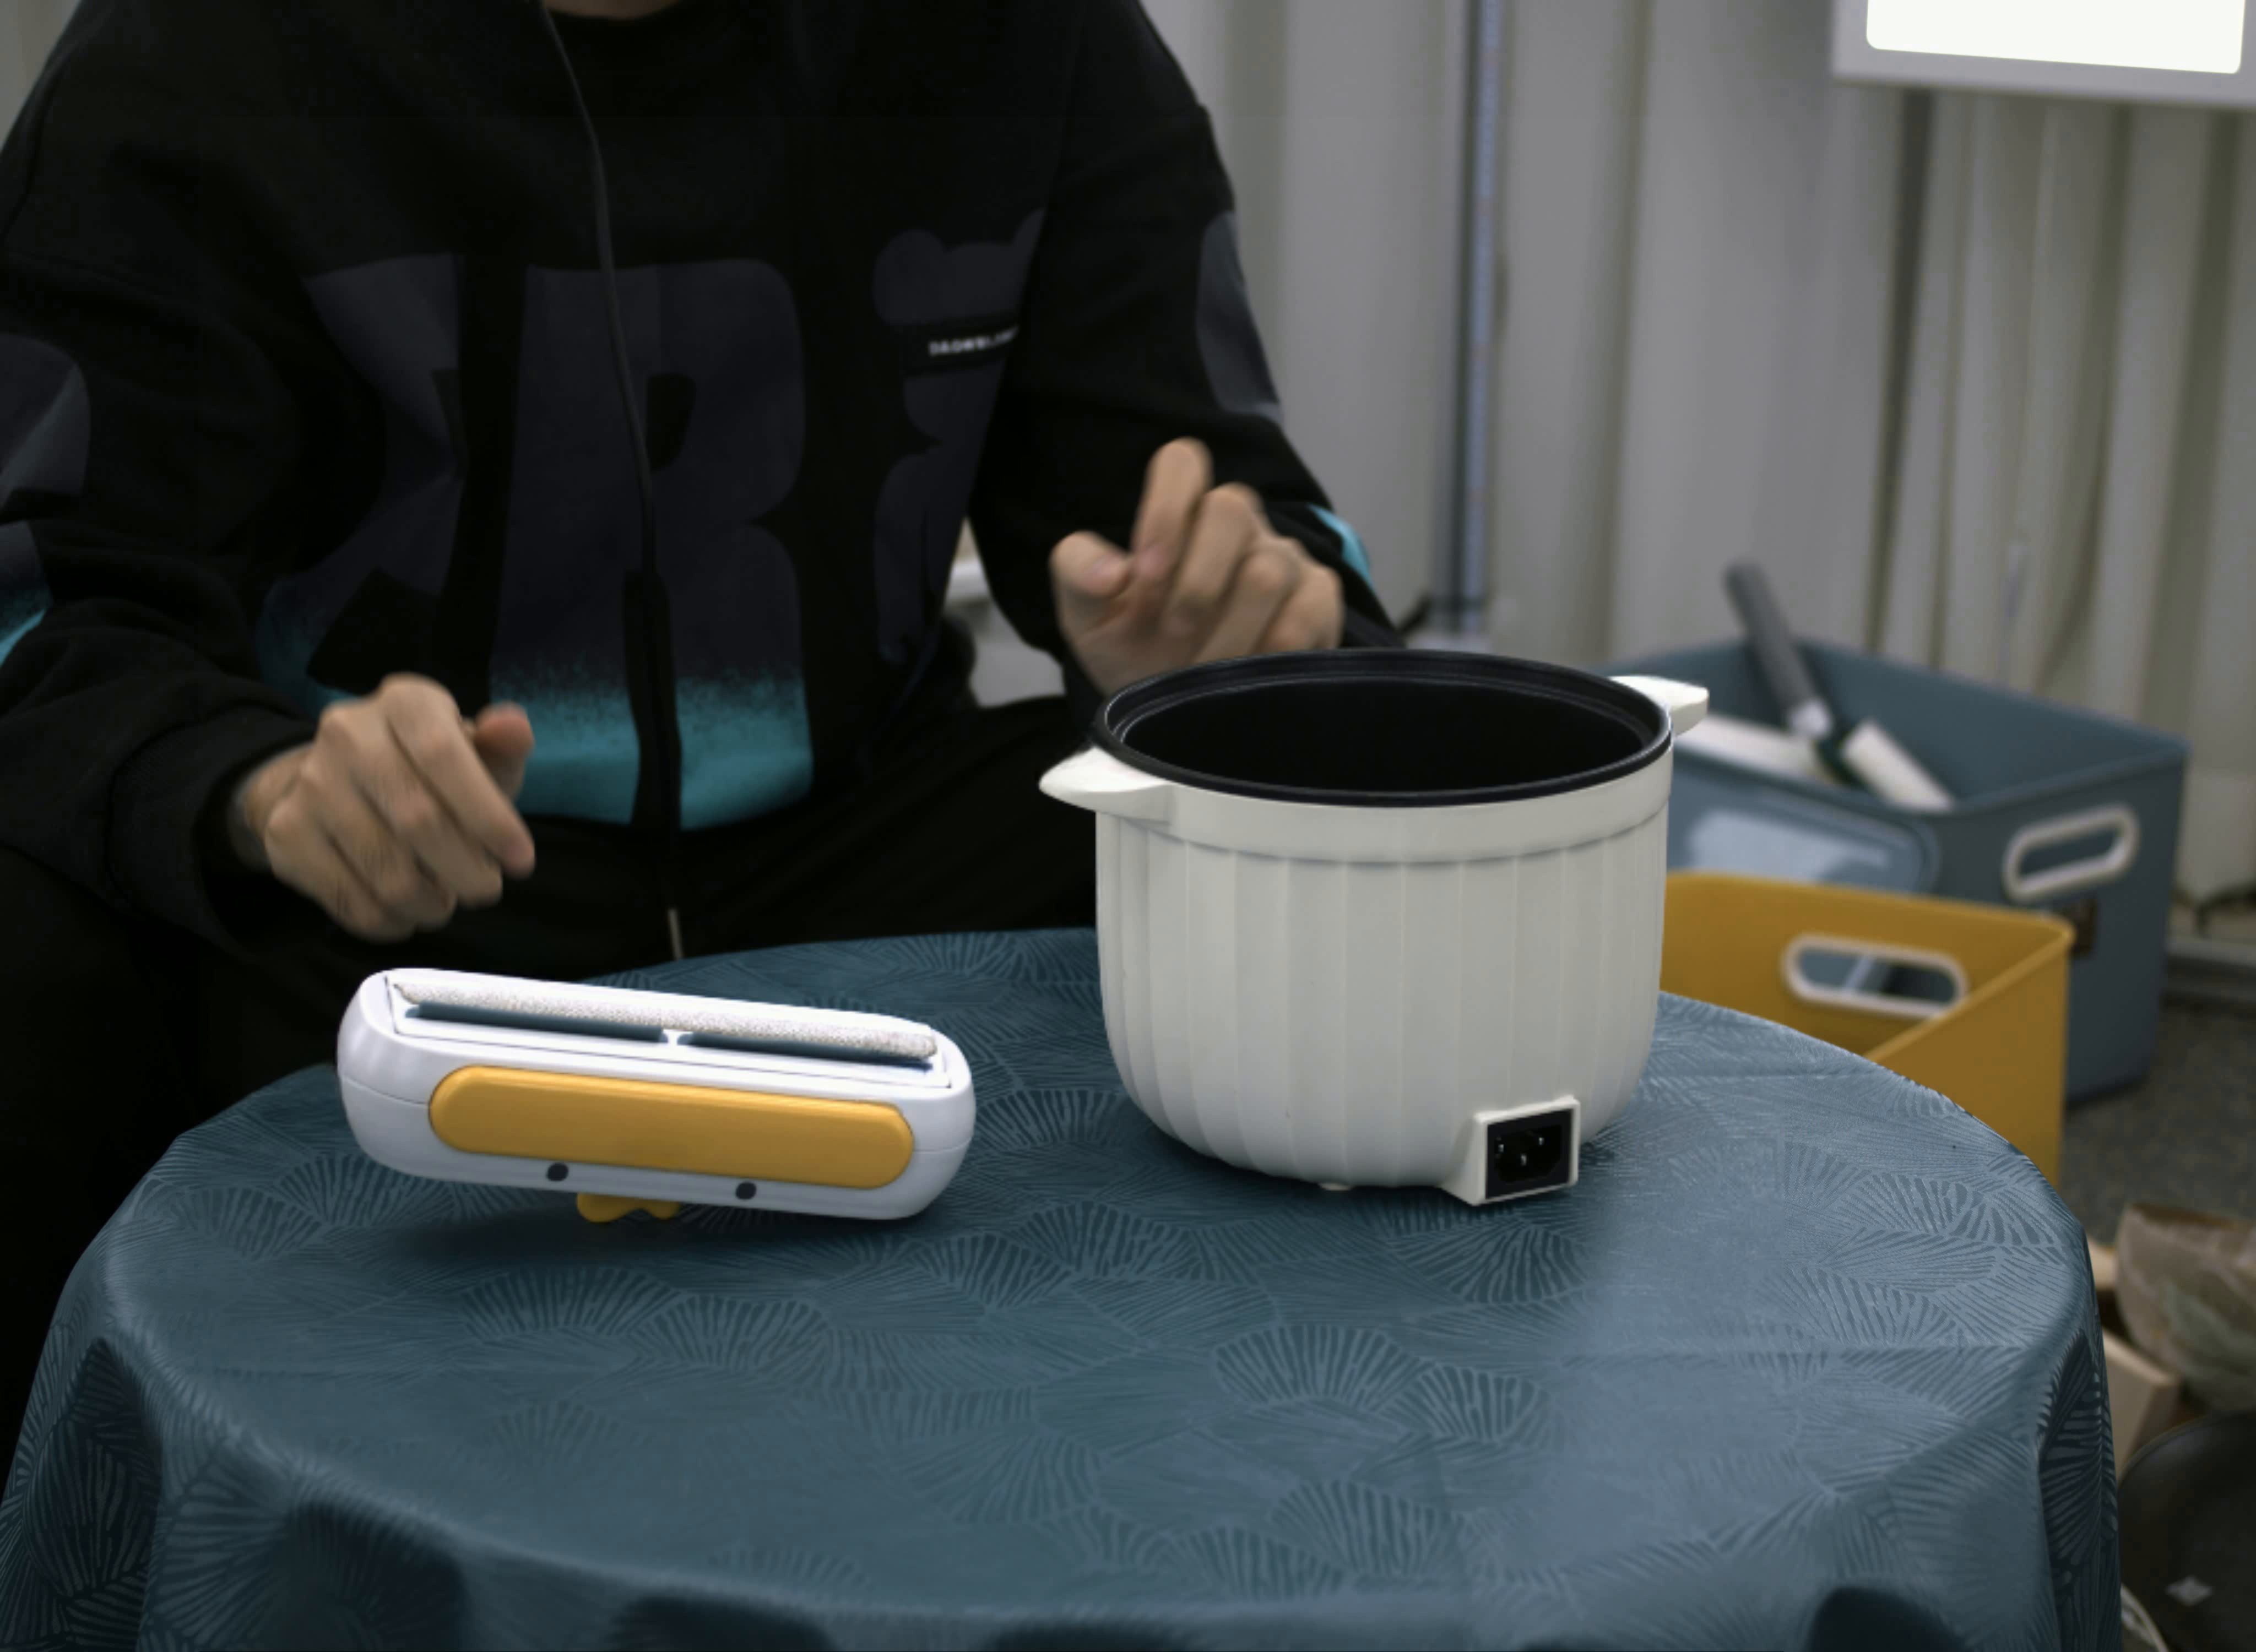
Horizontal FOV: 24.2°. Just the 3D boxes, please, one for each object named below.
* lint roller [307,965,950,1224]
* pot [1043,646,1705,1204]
[{"bbox_3d":[-0.159,0.072,1.630,0.193,0.075,0.191,3,13,-11],"label":"lint roller"},{"bbox_3d":[0.075,0.029,1.661,0.241,0.144,0.188,-8,20,-30],"label":"pot"}]
